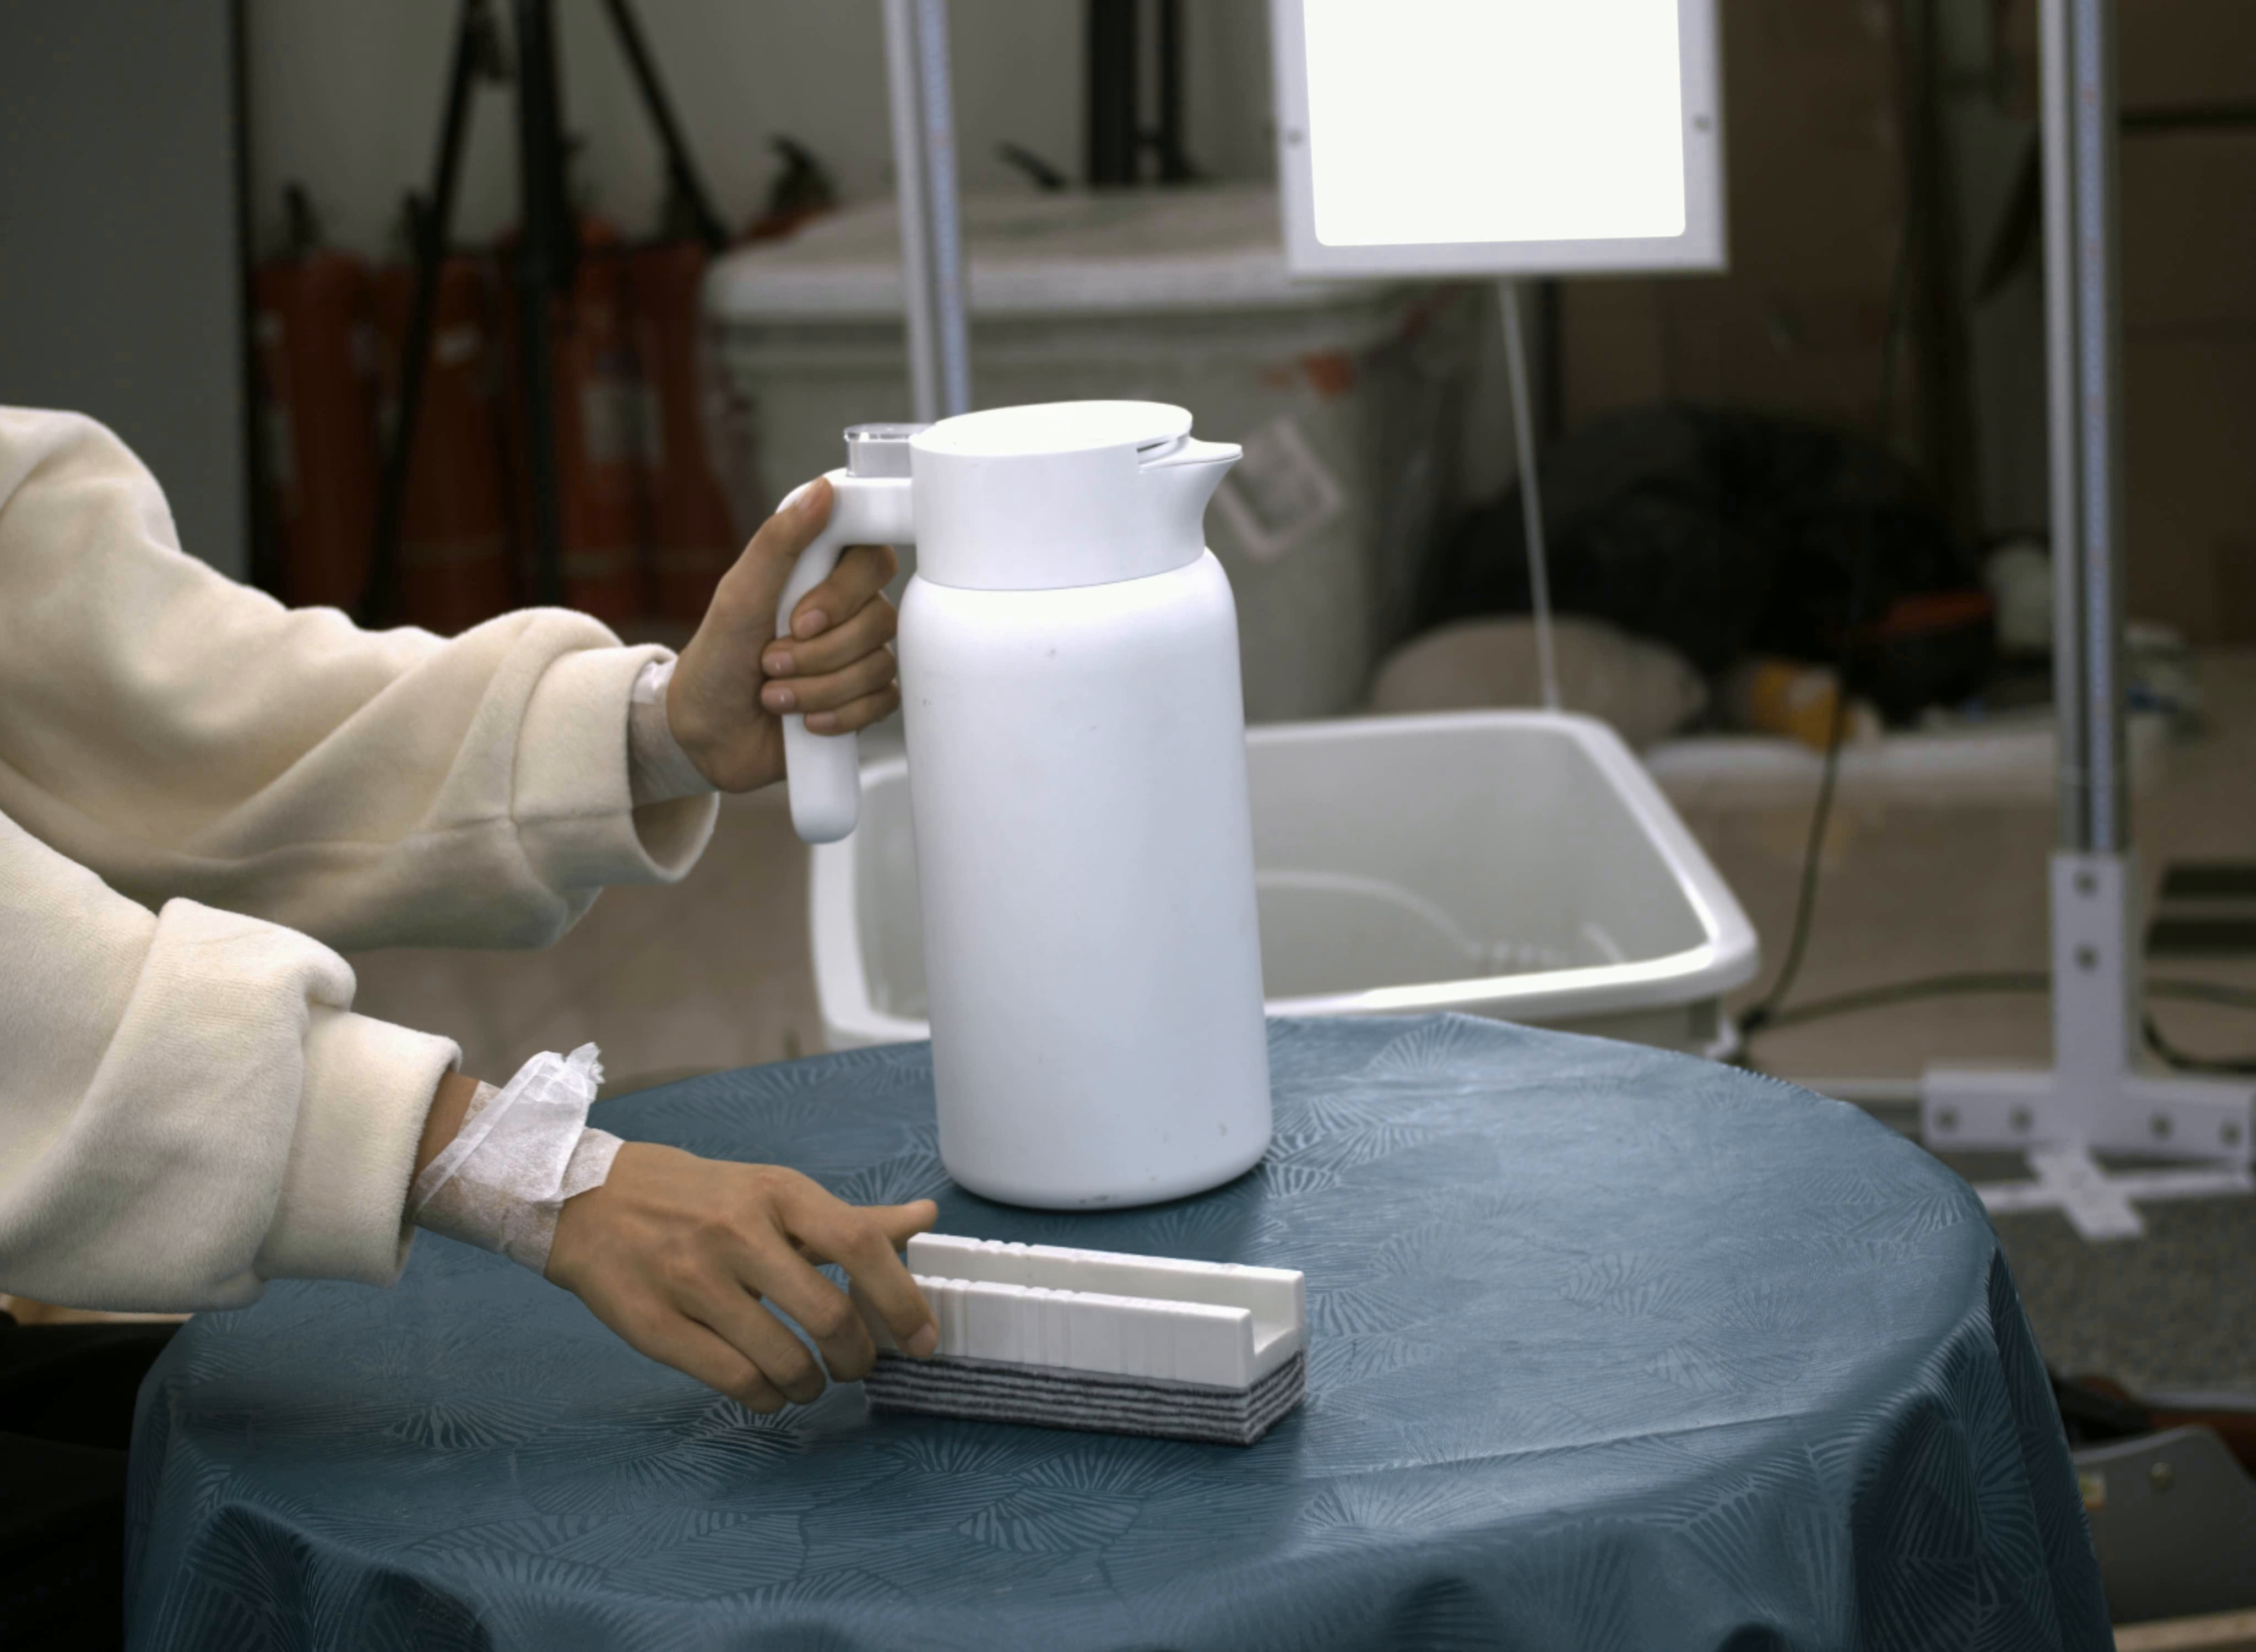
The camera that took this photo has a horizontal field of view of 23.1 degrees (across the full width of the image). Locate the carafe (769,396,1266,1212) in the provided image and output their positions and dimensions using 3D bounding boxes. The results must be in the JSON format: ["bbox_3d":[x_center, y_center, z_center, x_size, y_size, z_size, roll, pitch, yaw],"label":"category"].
[{"bbox_3d":[-0.034,-0.008,1.901,0.175,0.270,0.121,1,17,21],"label":"carafe"}]

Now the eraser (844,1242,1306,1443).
[{"bbox_3d":[-0.016,0.157,1.683,0.136,0.047,0.049,2,17,25],"label":"eraser"}]
